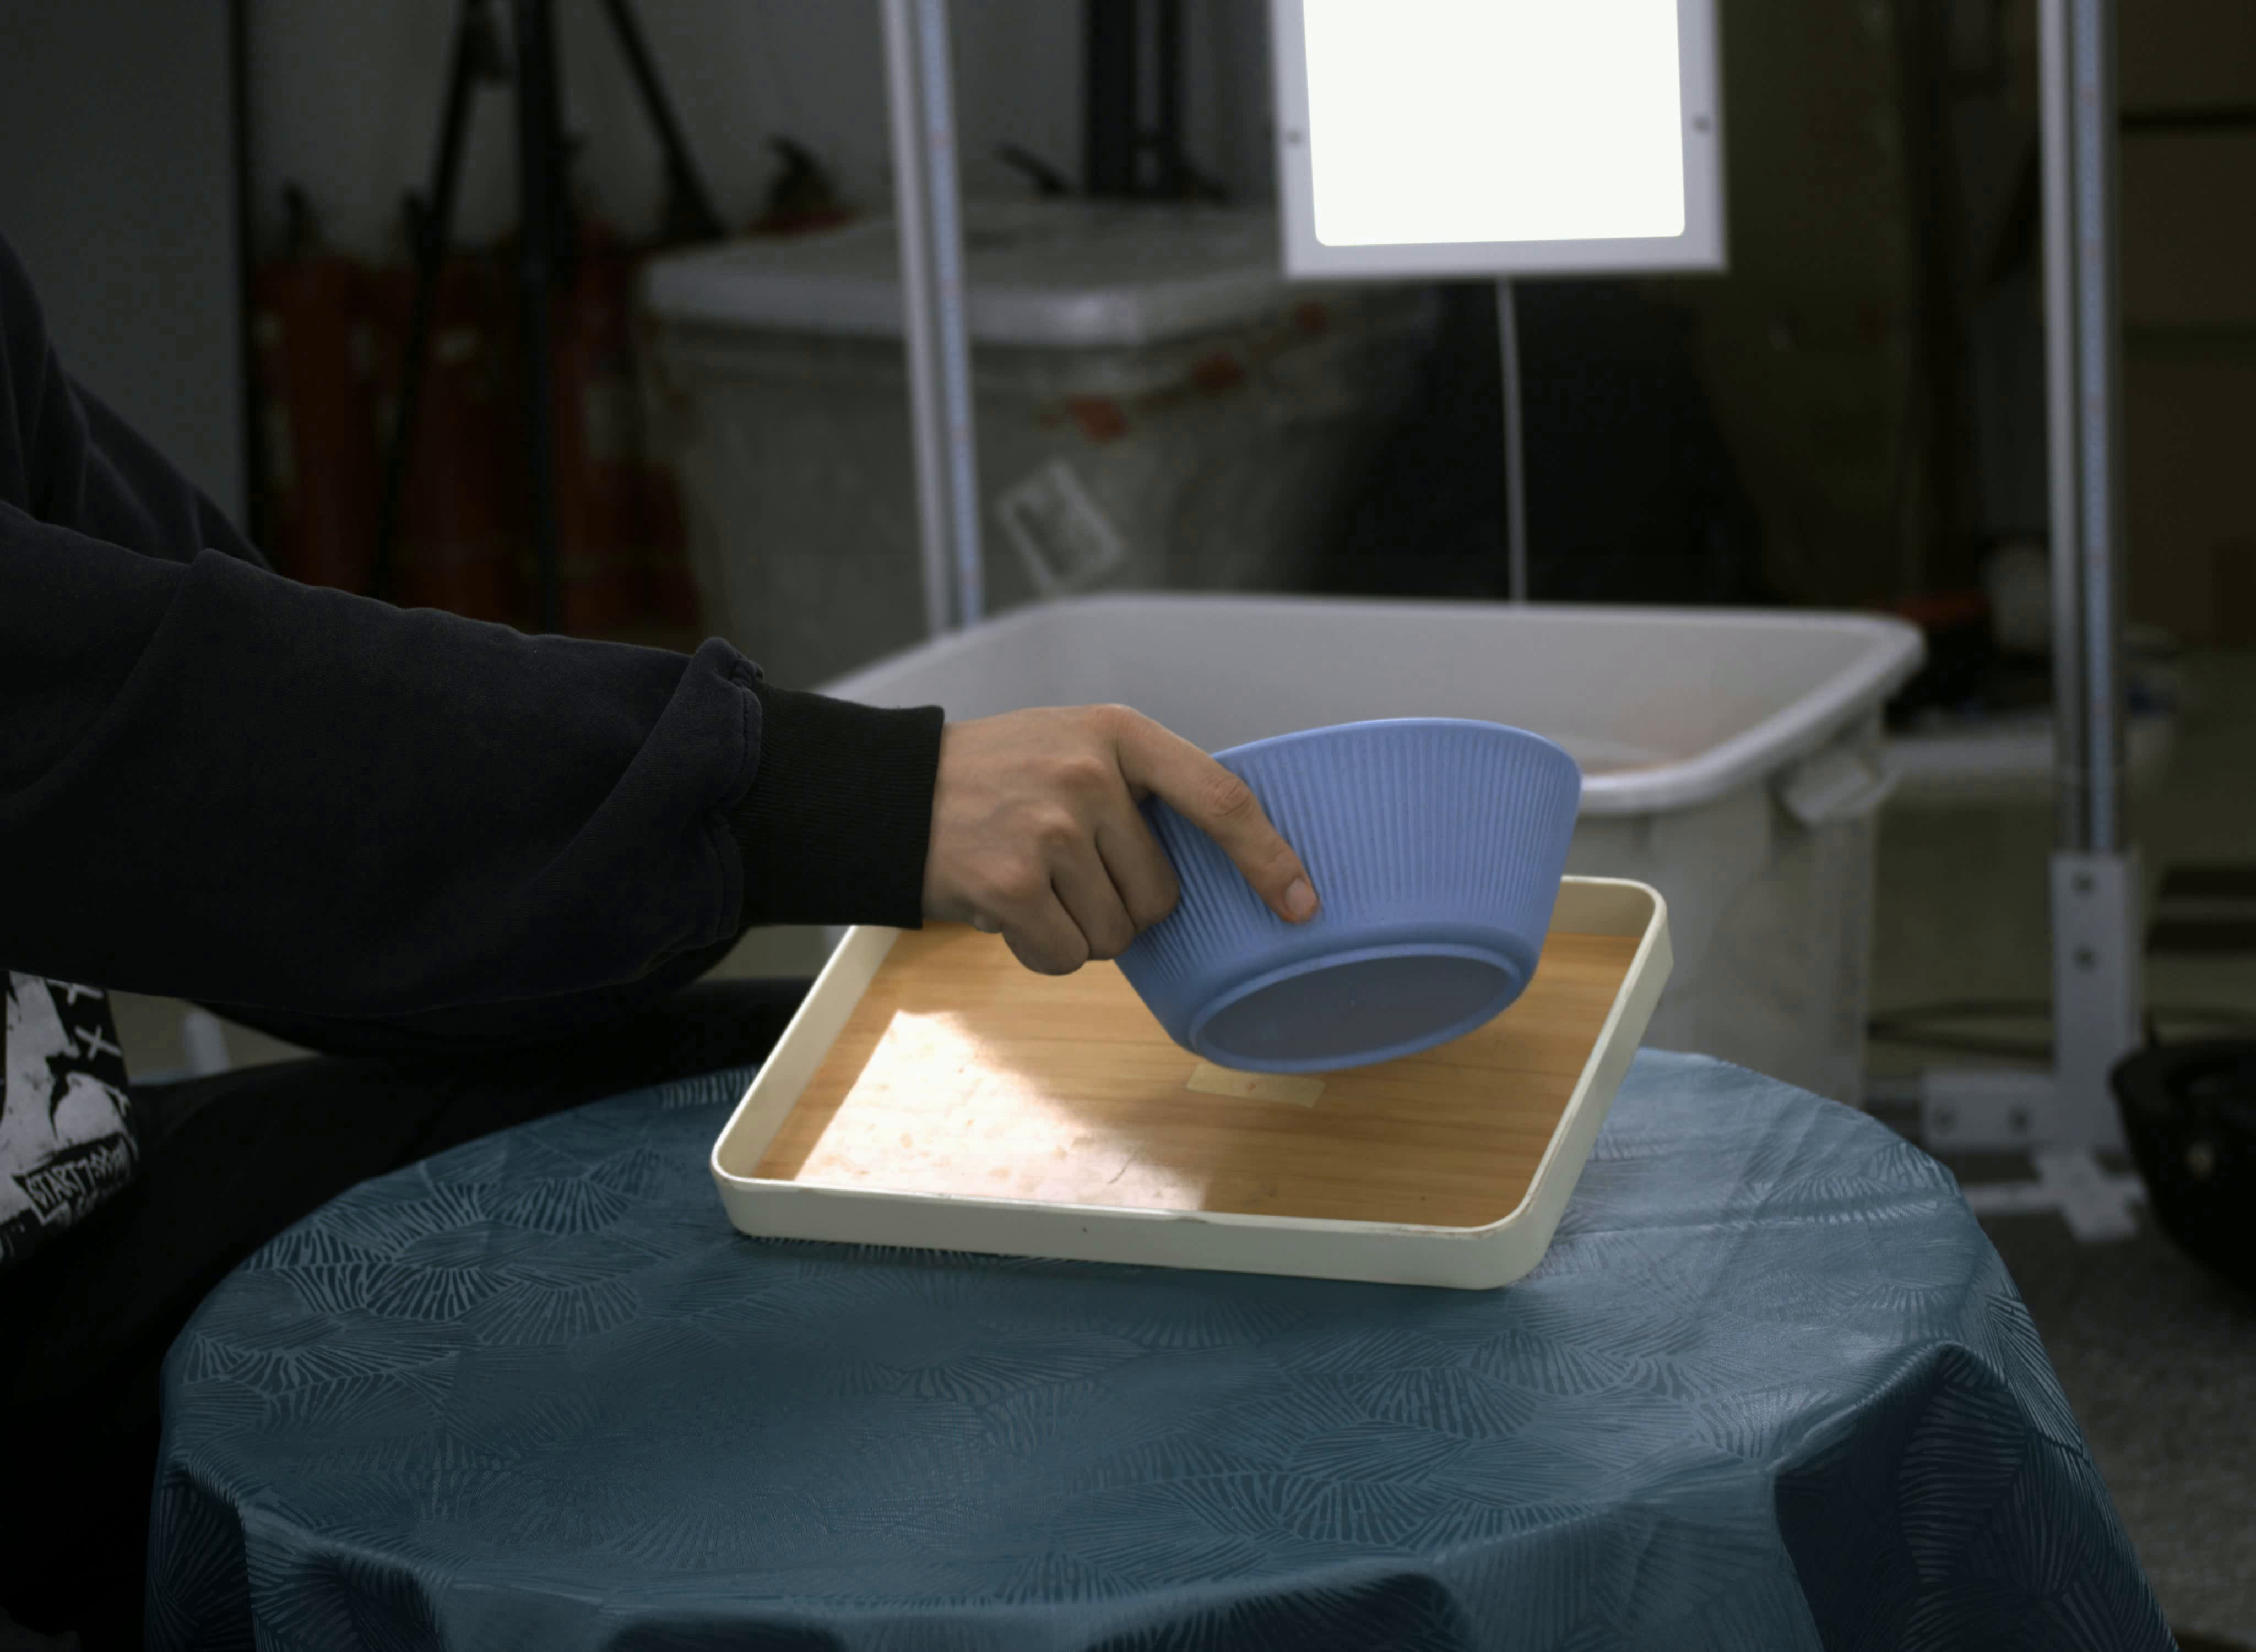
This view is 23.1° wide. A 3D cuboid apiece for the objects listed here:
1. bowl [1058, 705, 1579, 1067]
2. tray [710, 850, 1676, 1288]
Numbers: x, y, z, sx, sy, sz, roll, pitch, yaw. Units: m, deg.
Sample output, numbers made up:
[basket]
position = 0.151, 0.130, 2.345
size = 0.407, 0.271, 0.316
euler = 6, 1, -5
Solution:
[bowl]
position = 0.068, 0.027, 1.795
size = 0.175, 0.070, 0.177
euler = -8, -21, -4
[tray]
position = 0.023, 0.079, 1.883
size = 0.305, 0.027, 0.188
euler = 2, 38, 26
